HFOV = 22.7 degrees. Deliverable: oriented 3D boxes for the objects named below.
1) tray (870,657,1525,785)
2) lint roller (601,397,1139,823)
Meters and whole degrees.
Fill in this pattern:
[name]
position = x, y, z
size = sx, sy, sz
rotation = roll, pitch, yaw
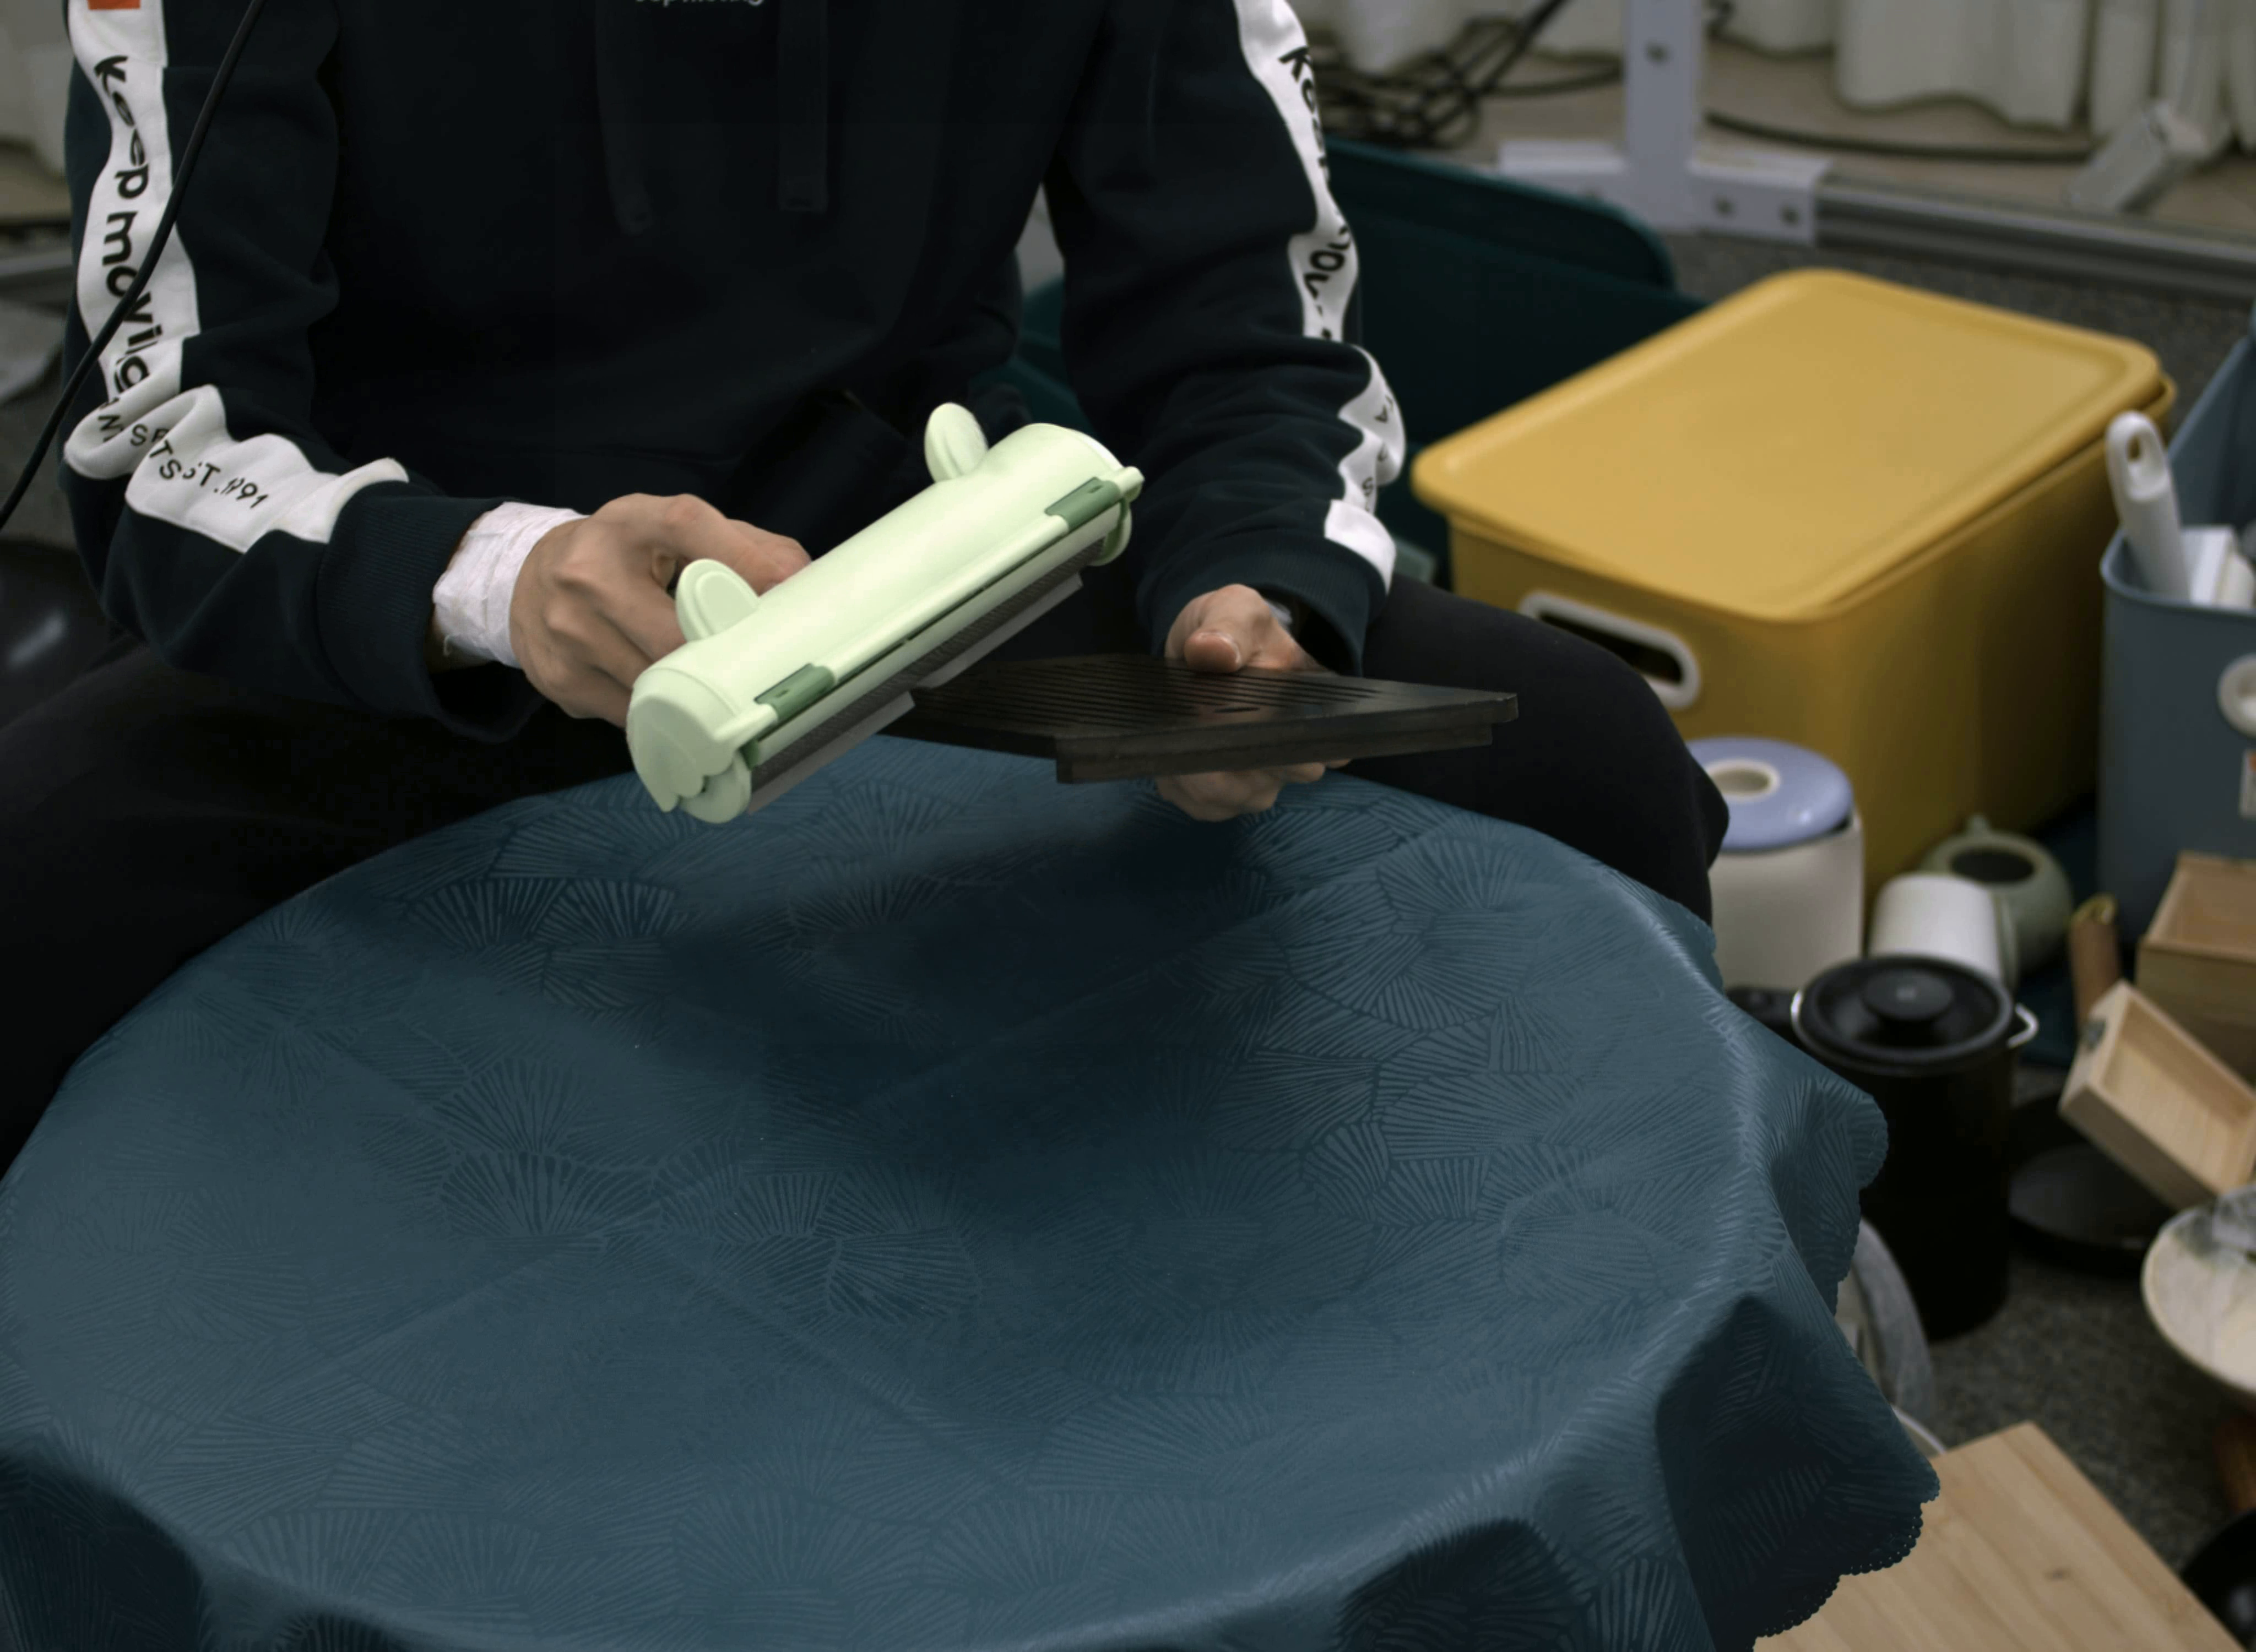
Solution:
[tray]
position = -0.009, -0.038, 1.926
size = 0.170, 0.018, 0.304
rotation = -5, 6, -26
[lint roller]
position = -0.120, -0.081, 1.850
size = 0.182, 0.081, 0.201
rotation = 9, 35, 44
